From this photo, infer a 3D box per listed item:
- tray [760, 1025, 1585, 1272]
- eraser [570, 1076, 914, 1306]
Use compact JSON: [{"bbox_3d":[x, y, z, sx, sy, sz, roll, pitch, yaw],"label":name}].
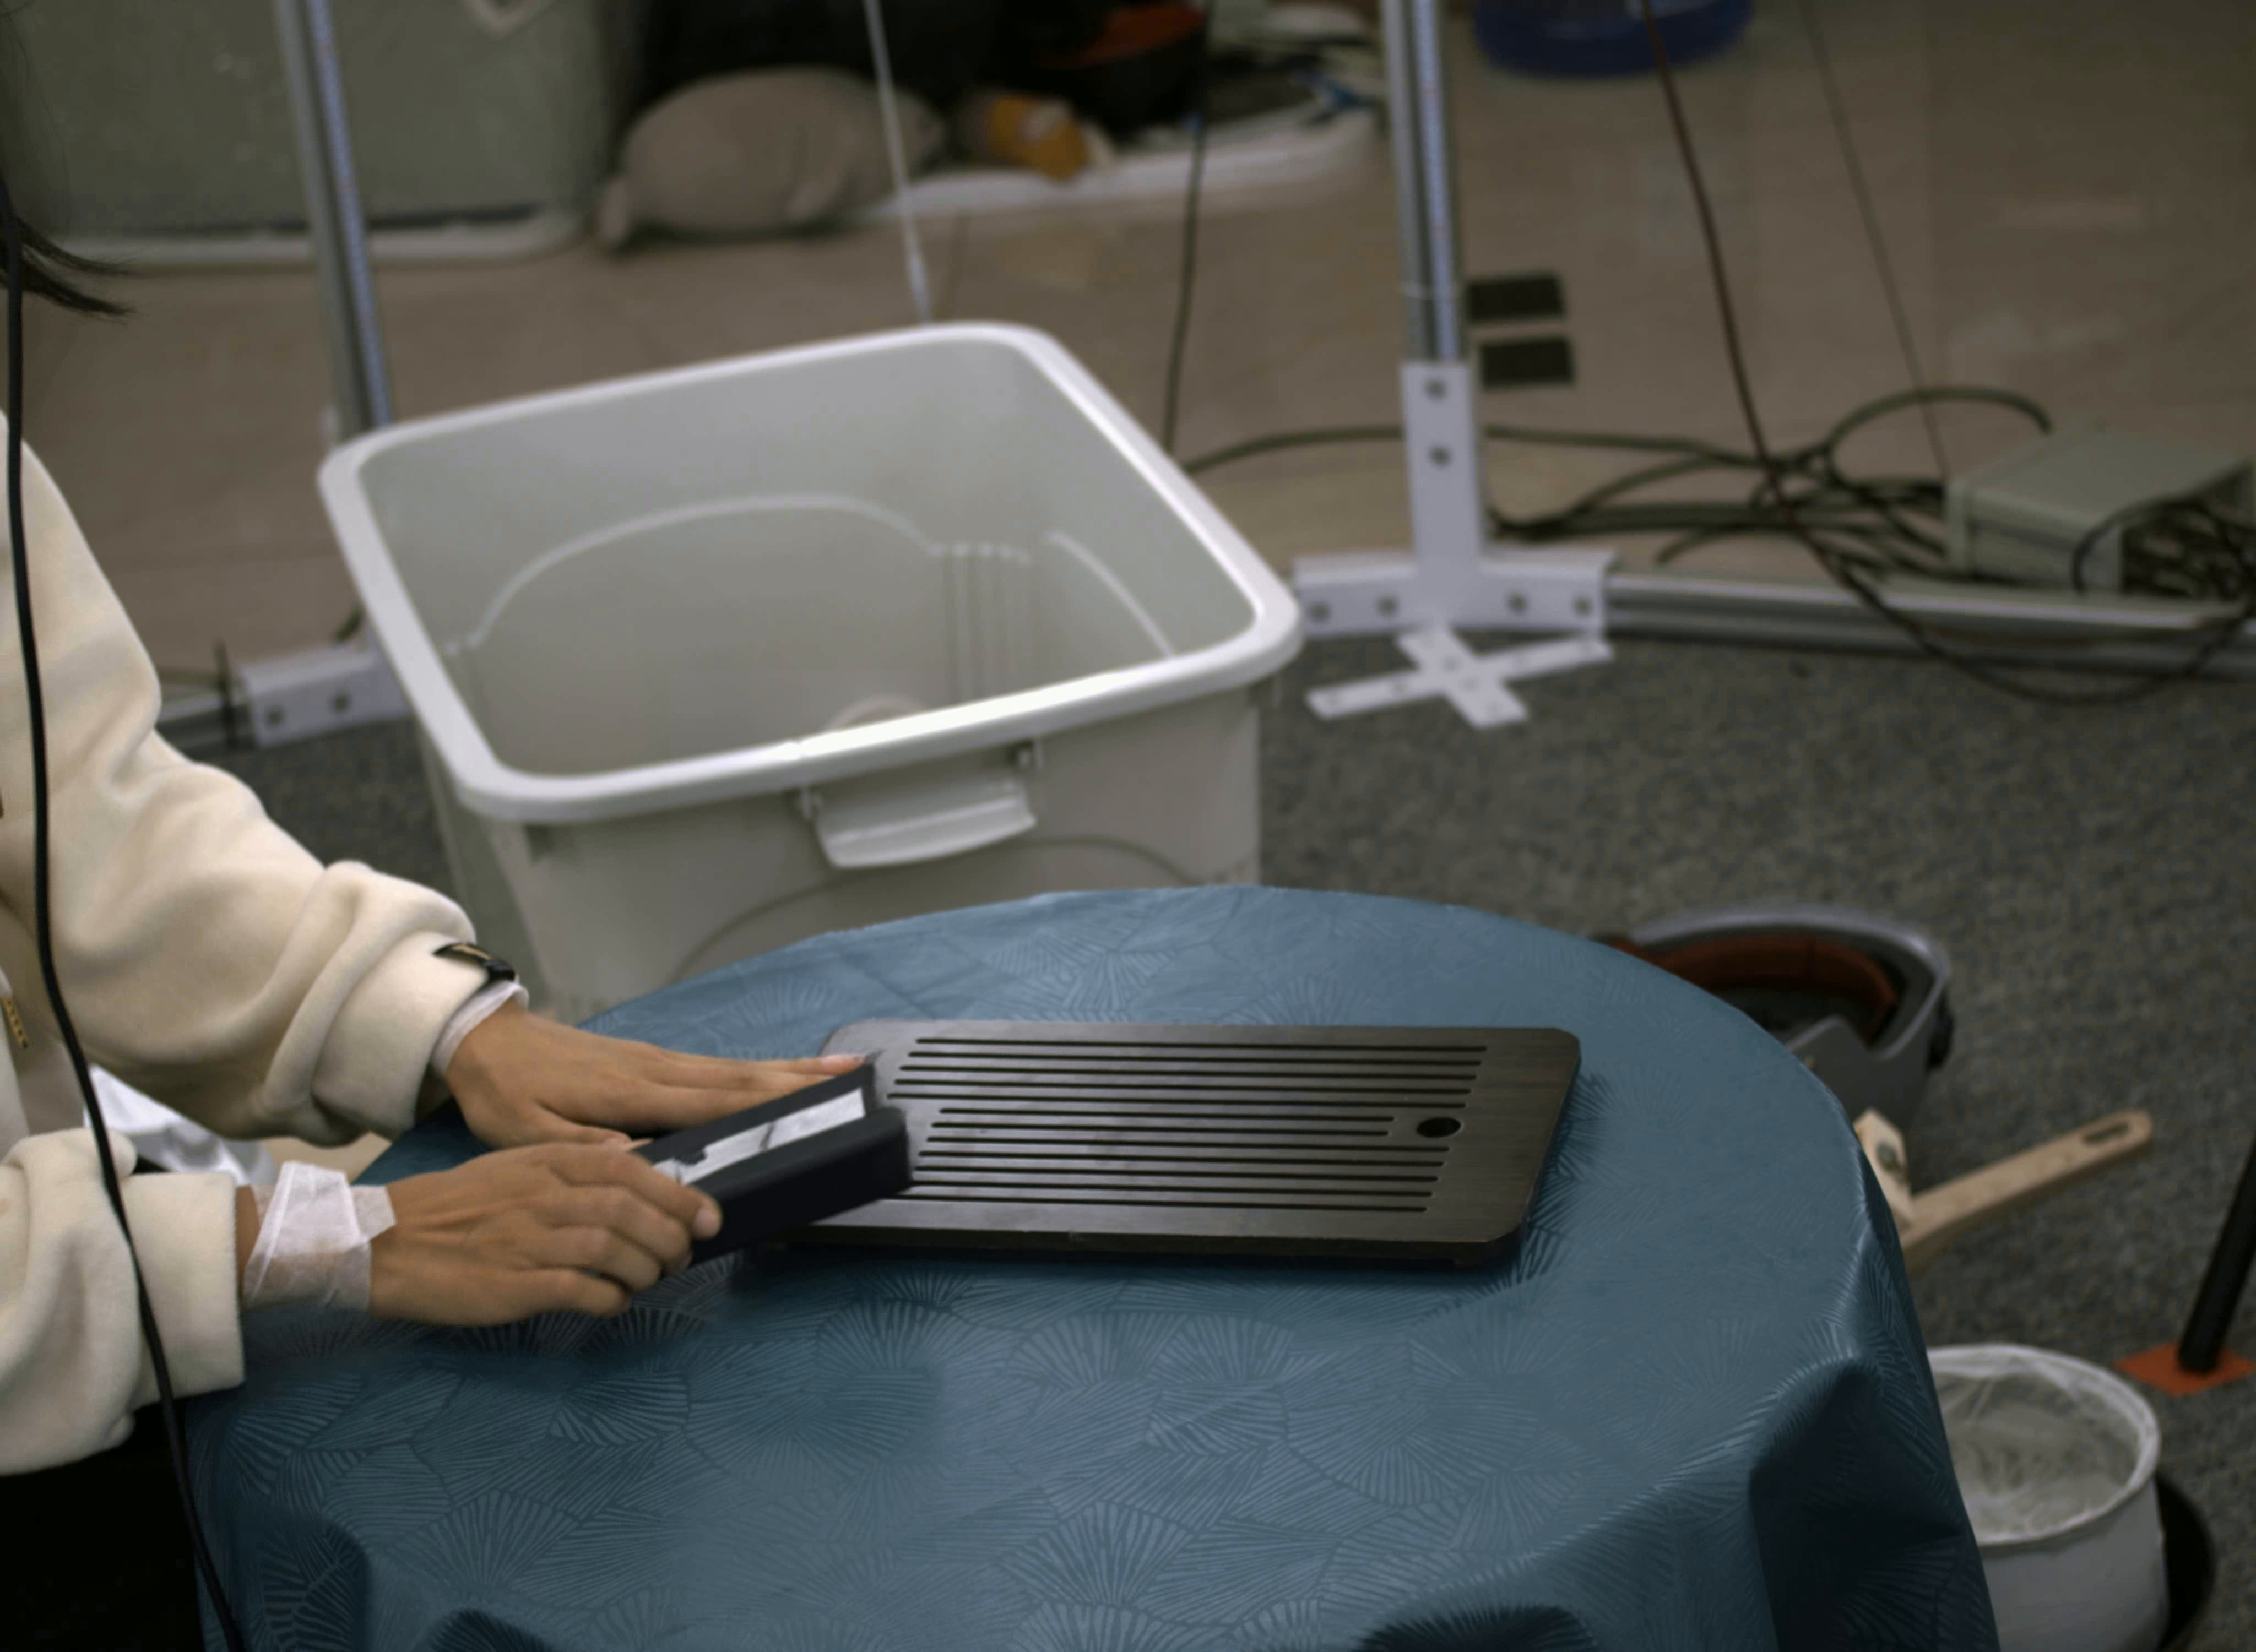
[{"bbox_3d":[0.013,0.122,2.159,0.305,0.019,0.168,0,26,14],"label":"tray"},{"bbox_3d":[-0.143,0.134,2.103,0.125,0.031,0.052,-20,32,-2],"label":"eraser"}]
